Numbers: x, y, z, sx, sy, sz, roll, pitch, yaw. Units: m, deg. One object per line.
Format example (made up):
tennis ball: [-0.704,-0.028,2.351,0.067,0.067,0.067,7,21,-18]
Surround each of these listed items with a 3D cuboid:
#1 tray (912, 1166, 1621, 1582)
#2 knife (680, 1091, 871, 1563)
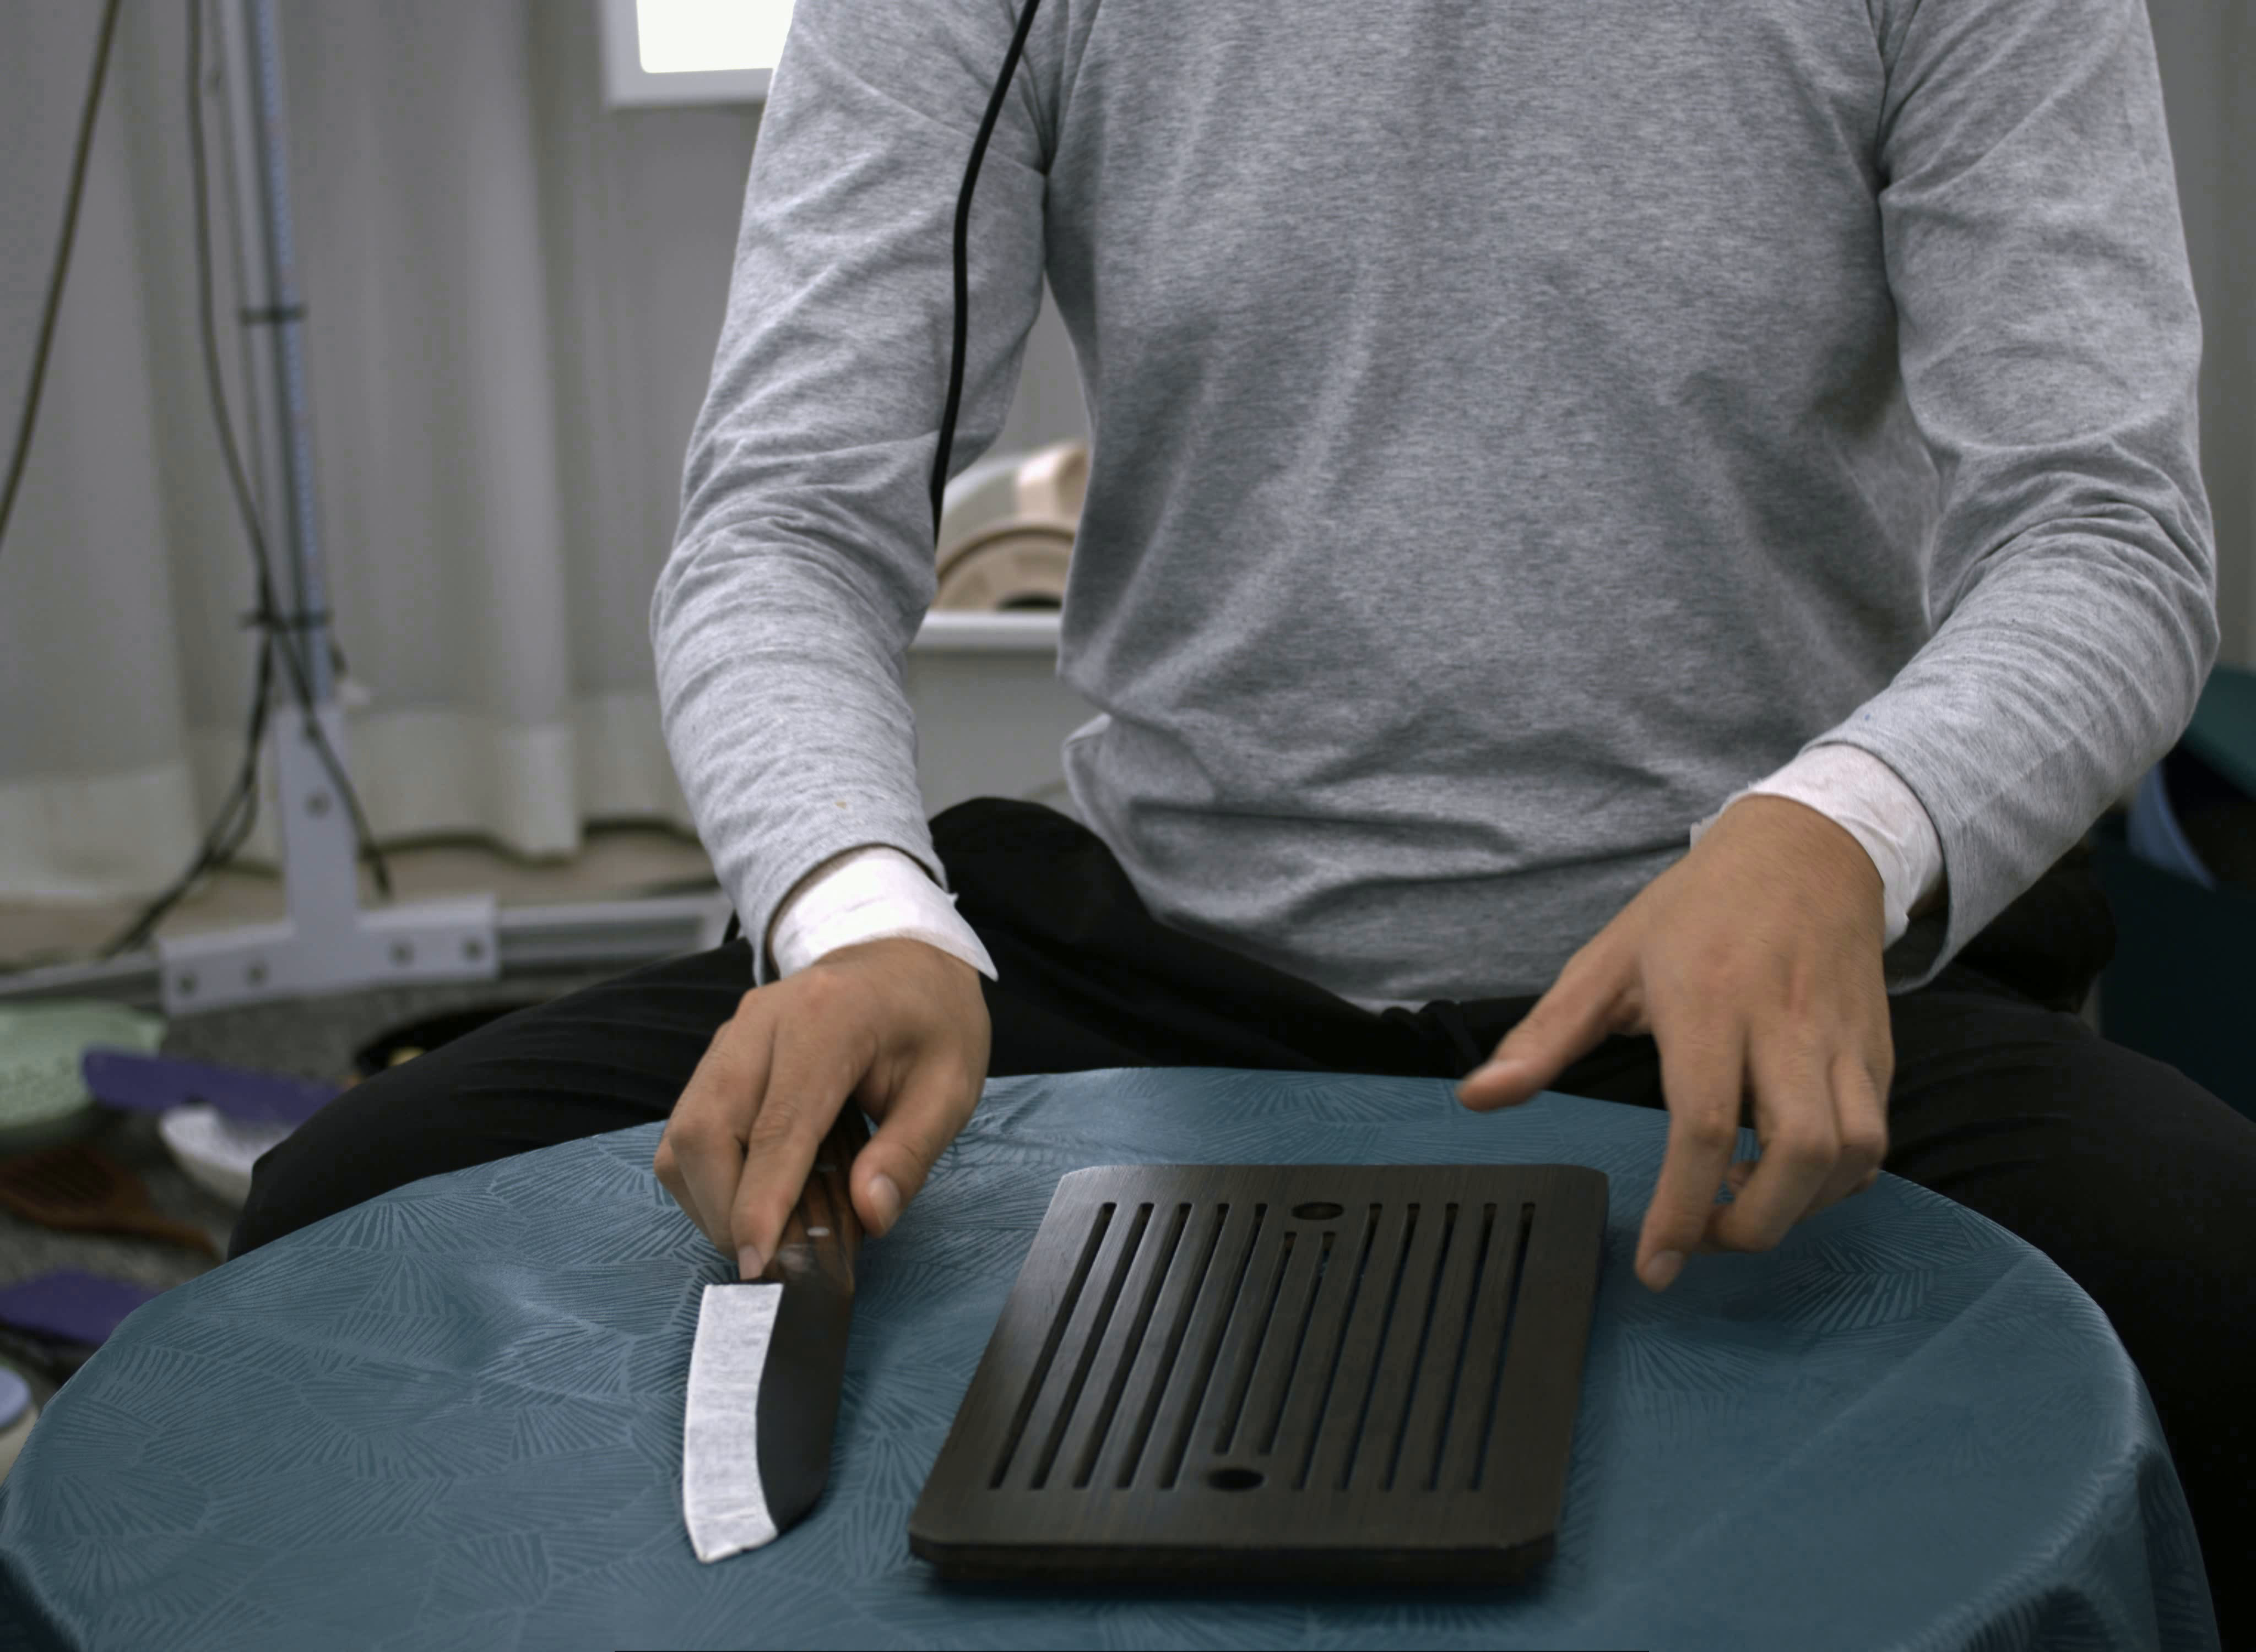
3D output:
tray: [0.047,0.151,1.537,0.170,0.018,0.307,-1,14,9]
knife: [-0.100,0.142,1.571,0.050,0.020,0.292,-2,21,4]
